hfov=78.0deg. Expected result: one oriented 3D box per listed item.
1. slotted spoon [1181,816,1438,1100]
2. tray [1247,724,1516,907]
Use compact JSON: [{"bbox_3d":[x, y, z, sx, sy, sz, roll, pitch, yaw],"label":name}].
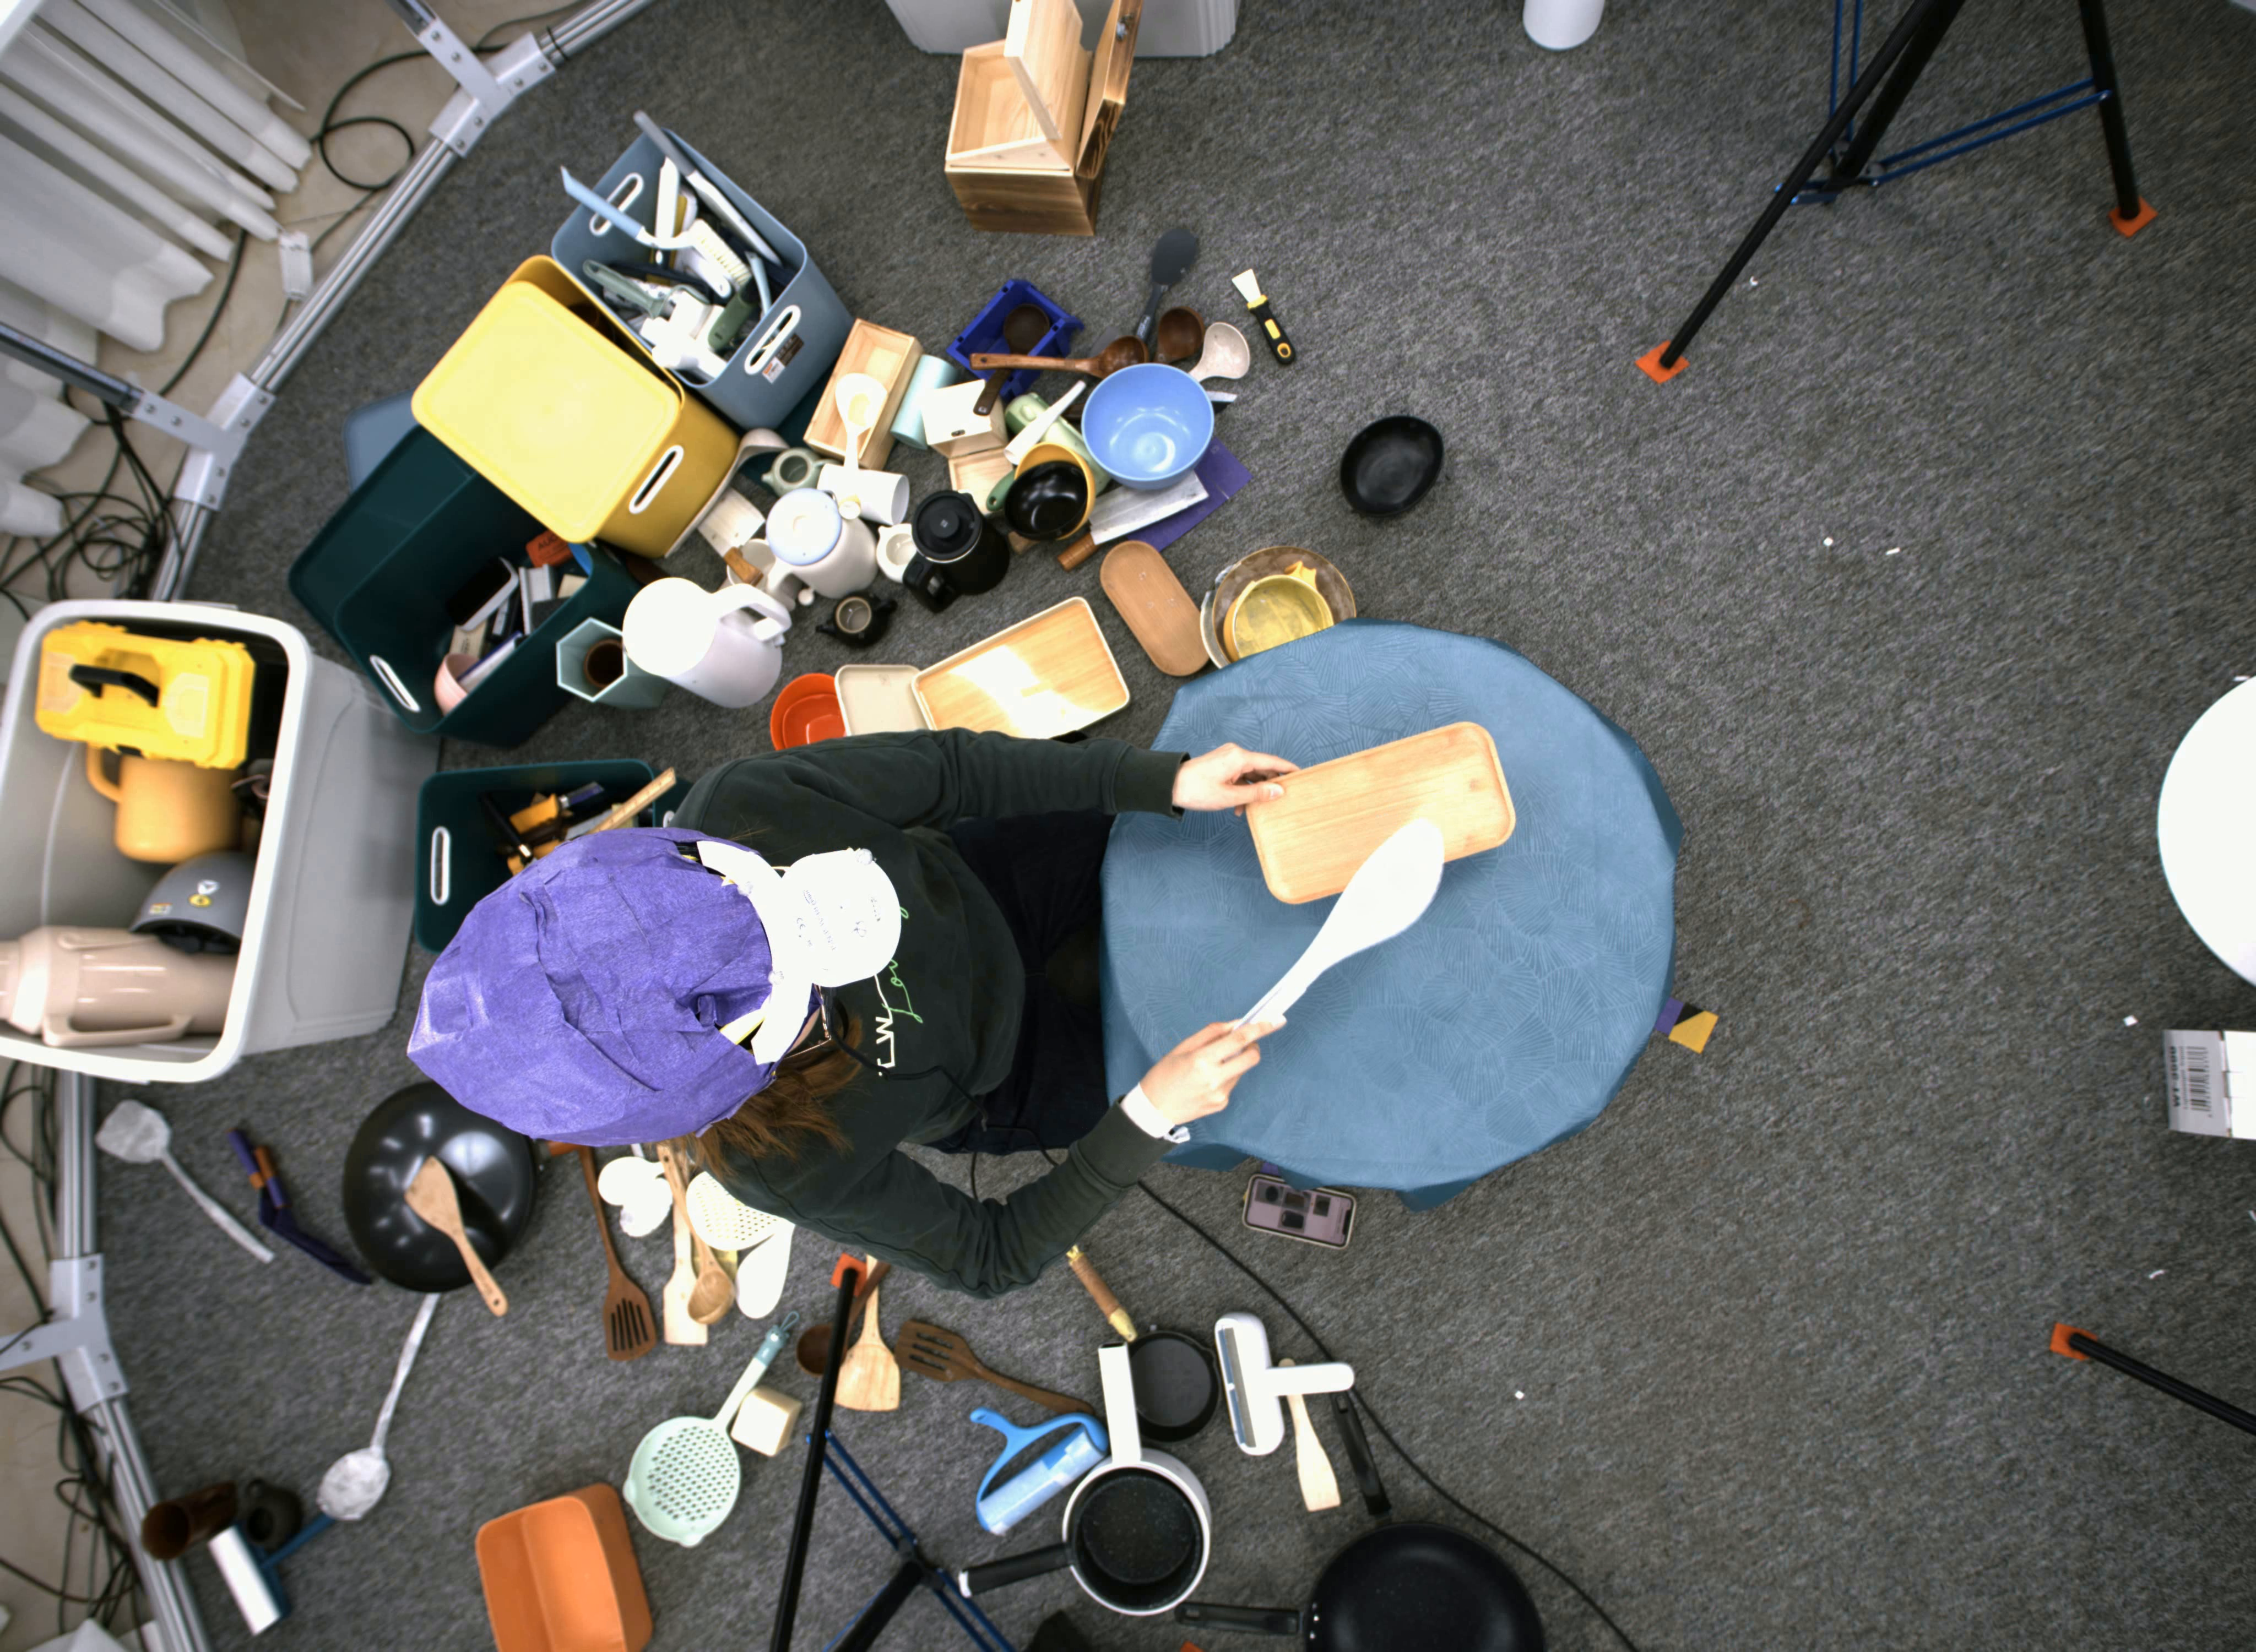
[{"bbox_3d":[0.166,0.126,1.276,0.046,0.134,0.354,44,105,-5],"label":"slotted spoon"},{"bbox_3d":[0.248,-0.010,1.358,0.252,0.023,0.130,-17,90,11],"label":"tray"}]
